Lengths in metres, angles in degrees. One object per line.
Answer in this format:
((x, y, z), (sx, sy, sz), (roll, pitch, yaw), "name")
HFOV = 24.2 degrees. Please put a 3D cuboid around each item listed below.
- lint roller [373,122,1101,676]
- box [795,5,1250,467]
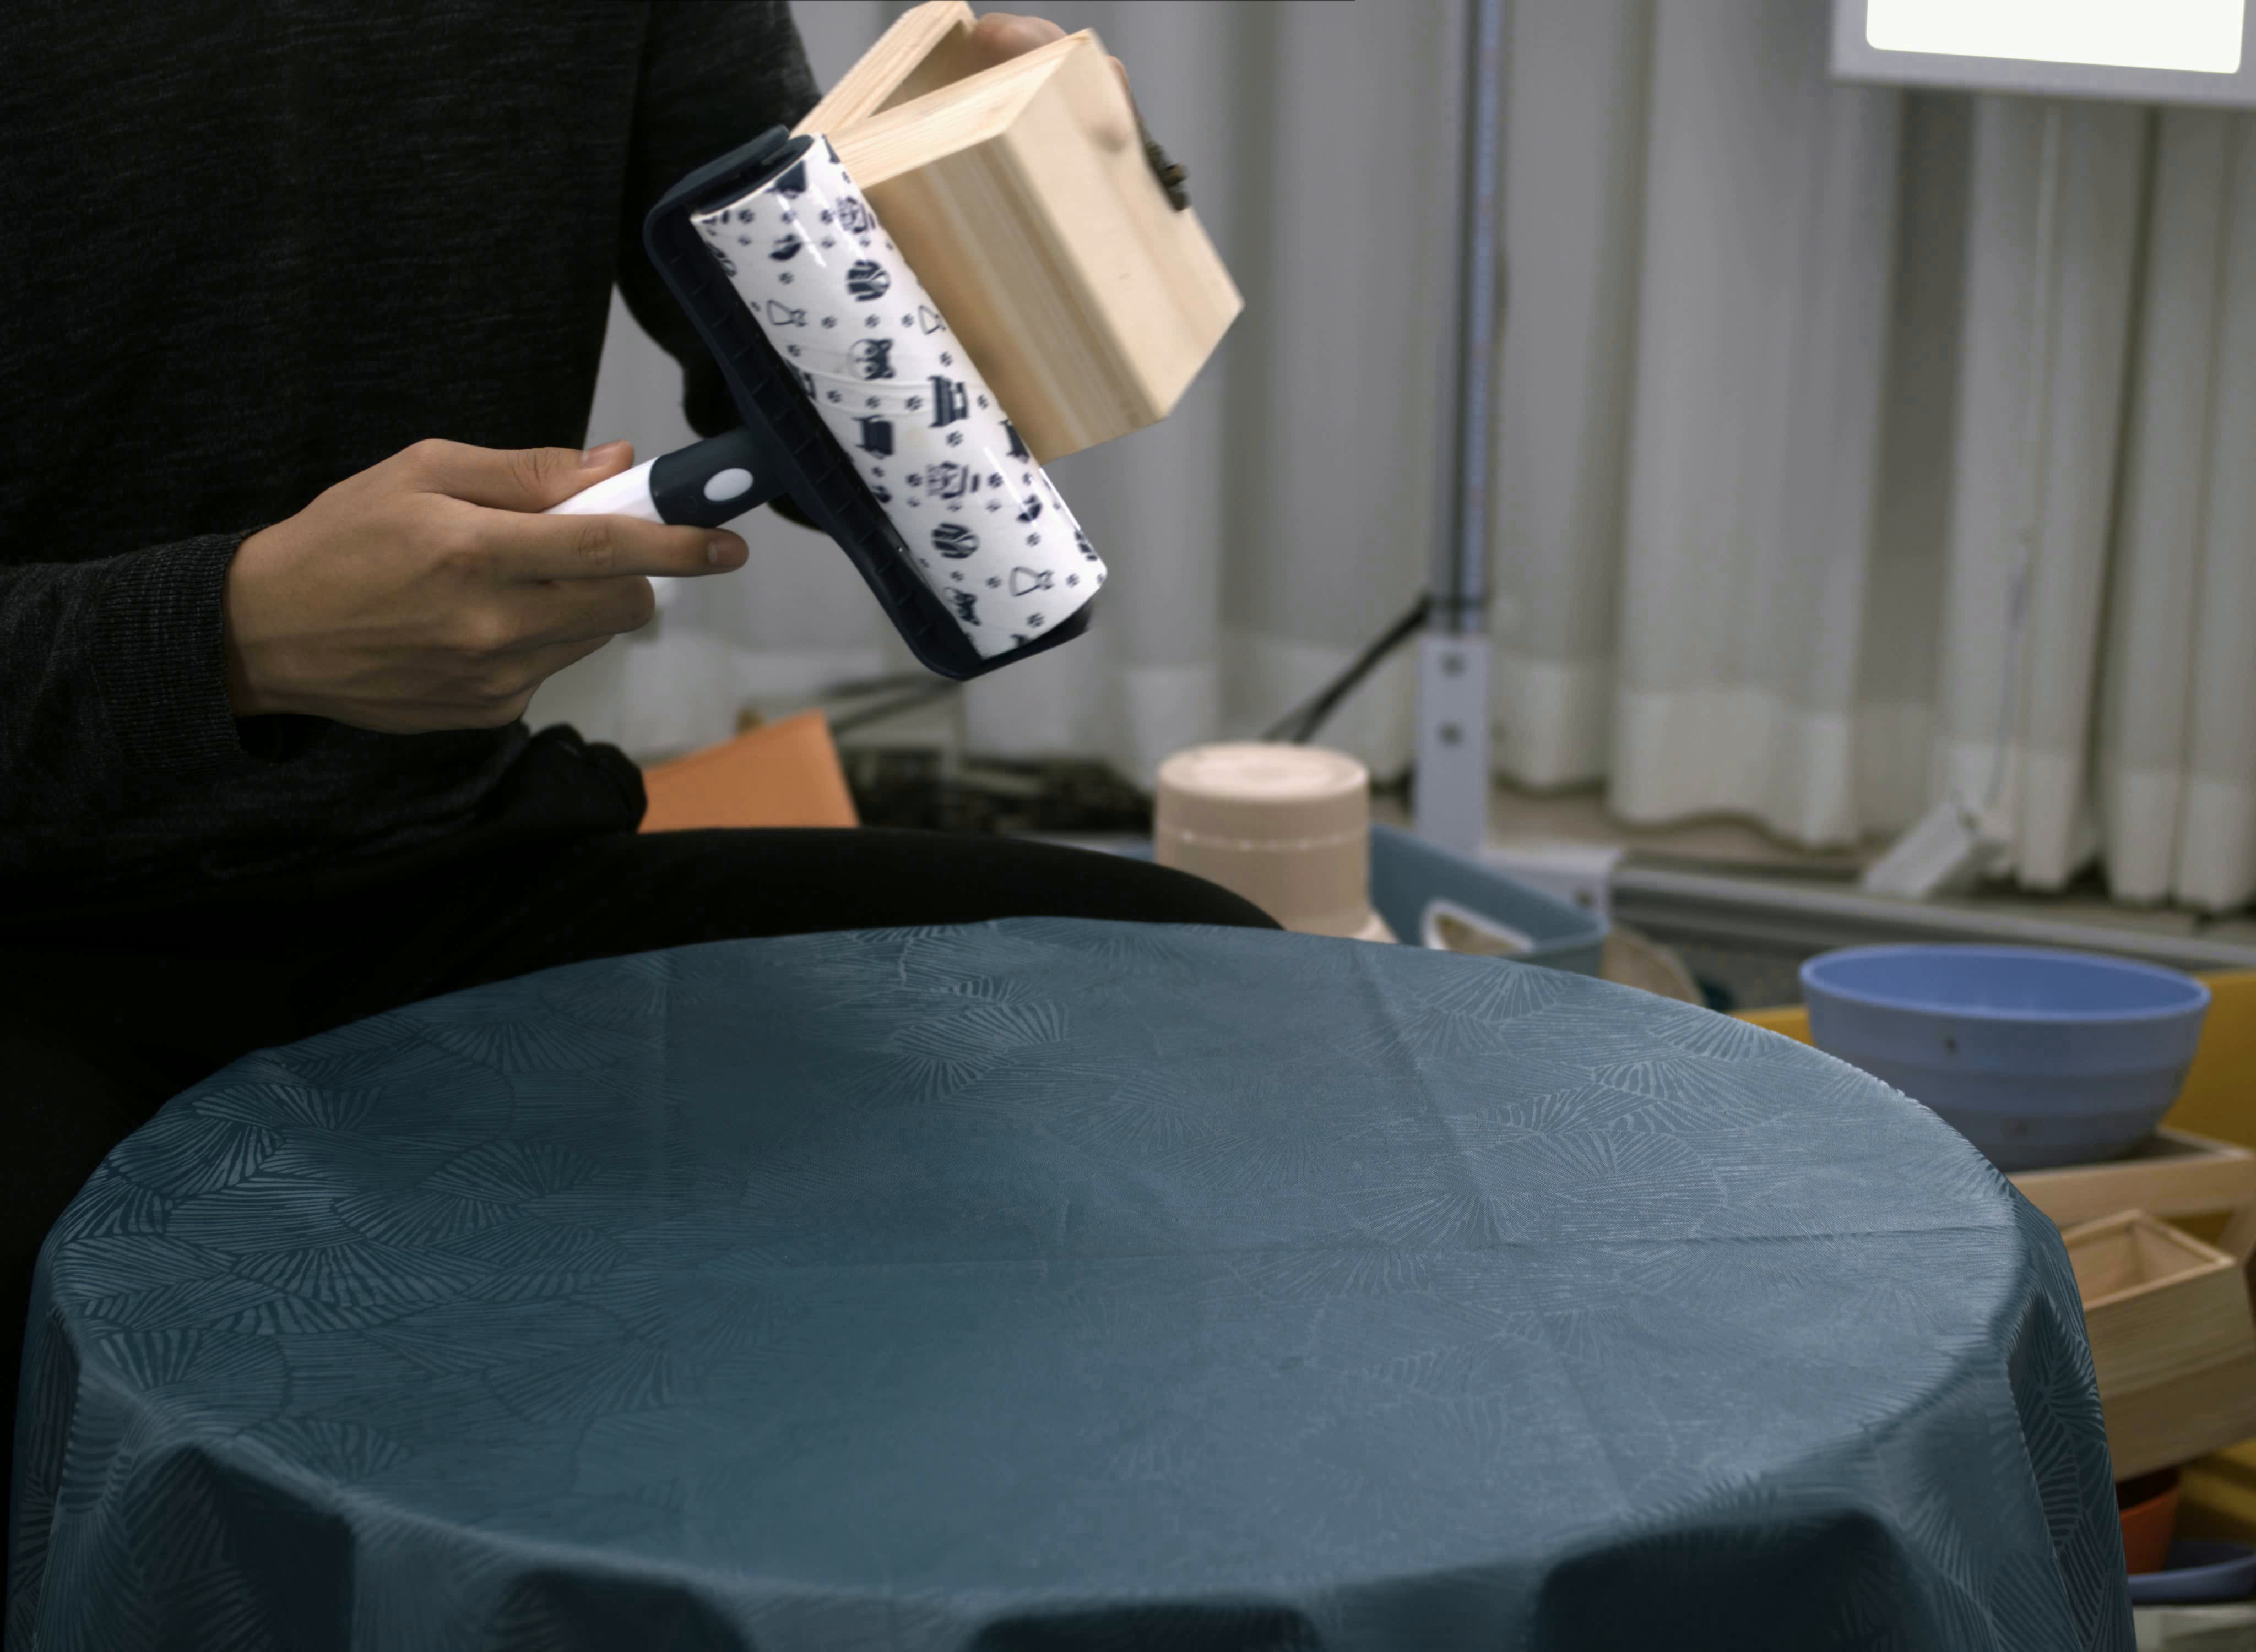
((-0.145, -0.095, 1.615), (0.245, 0.178, 0.050), (-23, 21, 33), "lint roller")
((-0.029, -0.194, 1.645), (0.133, 0.103, 0.184), (-18, 23, 30), "box")
